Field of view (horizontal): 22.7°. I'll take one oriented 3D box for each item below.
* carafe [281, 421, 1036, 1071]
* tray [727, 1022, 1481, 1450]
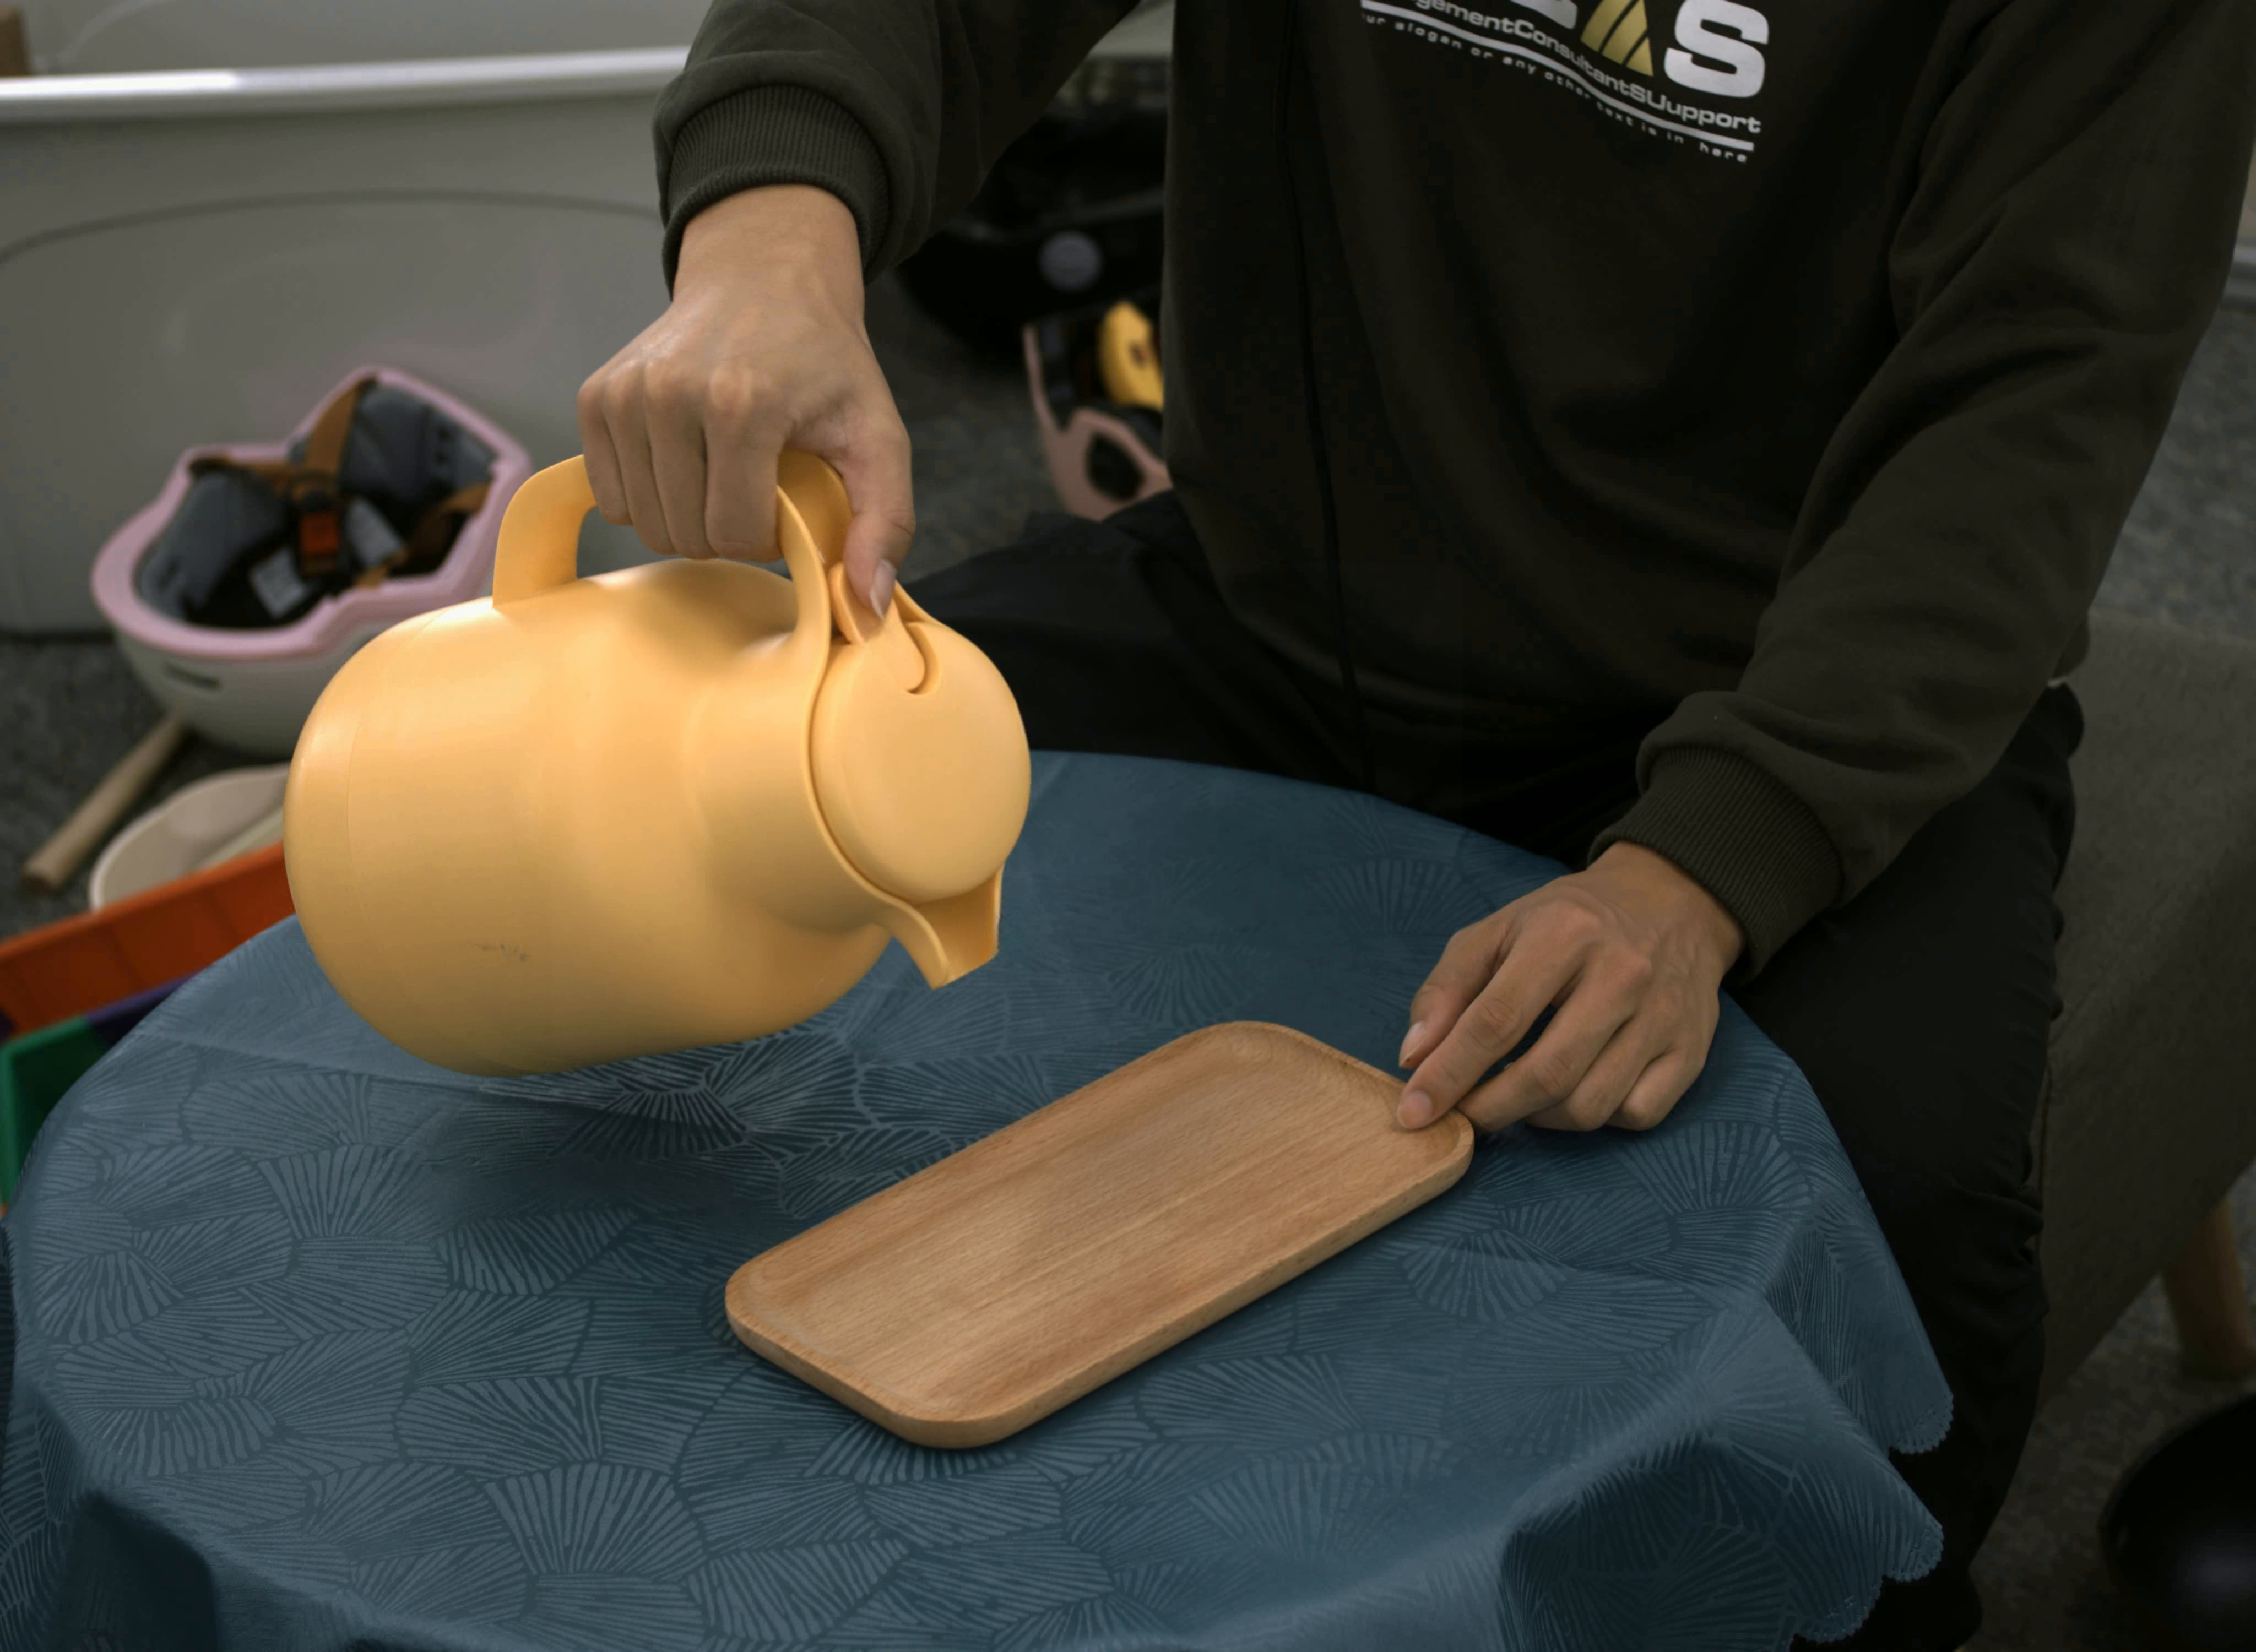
[{"bbox_3d":[-0.152,-0.026,1.850,0.257,0.202,0.165,-8,9,41],"label":"carafe"},{"bbox_3d":[-0.006,0.131,1.829,0.253,0.022,0.130,-24,37,-37],"label":"tray"}]
